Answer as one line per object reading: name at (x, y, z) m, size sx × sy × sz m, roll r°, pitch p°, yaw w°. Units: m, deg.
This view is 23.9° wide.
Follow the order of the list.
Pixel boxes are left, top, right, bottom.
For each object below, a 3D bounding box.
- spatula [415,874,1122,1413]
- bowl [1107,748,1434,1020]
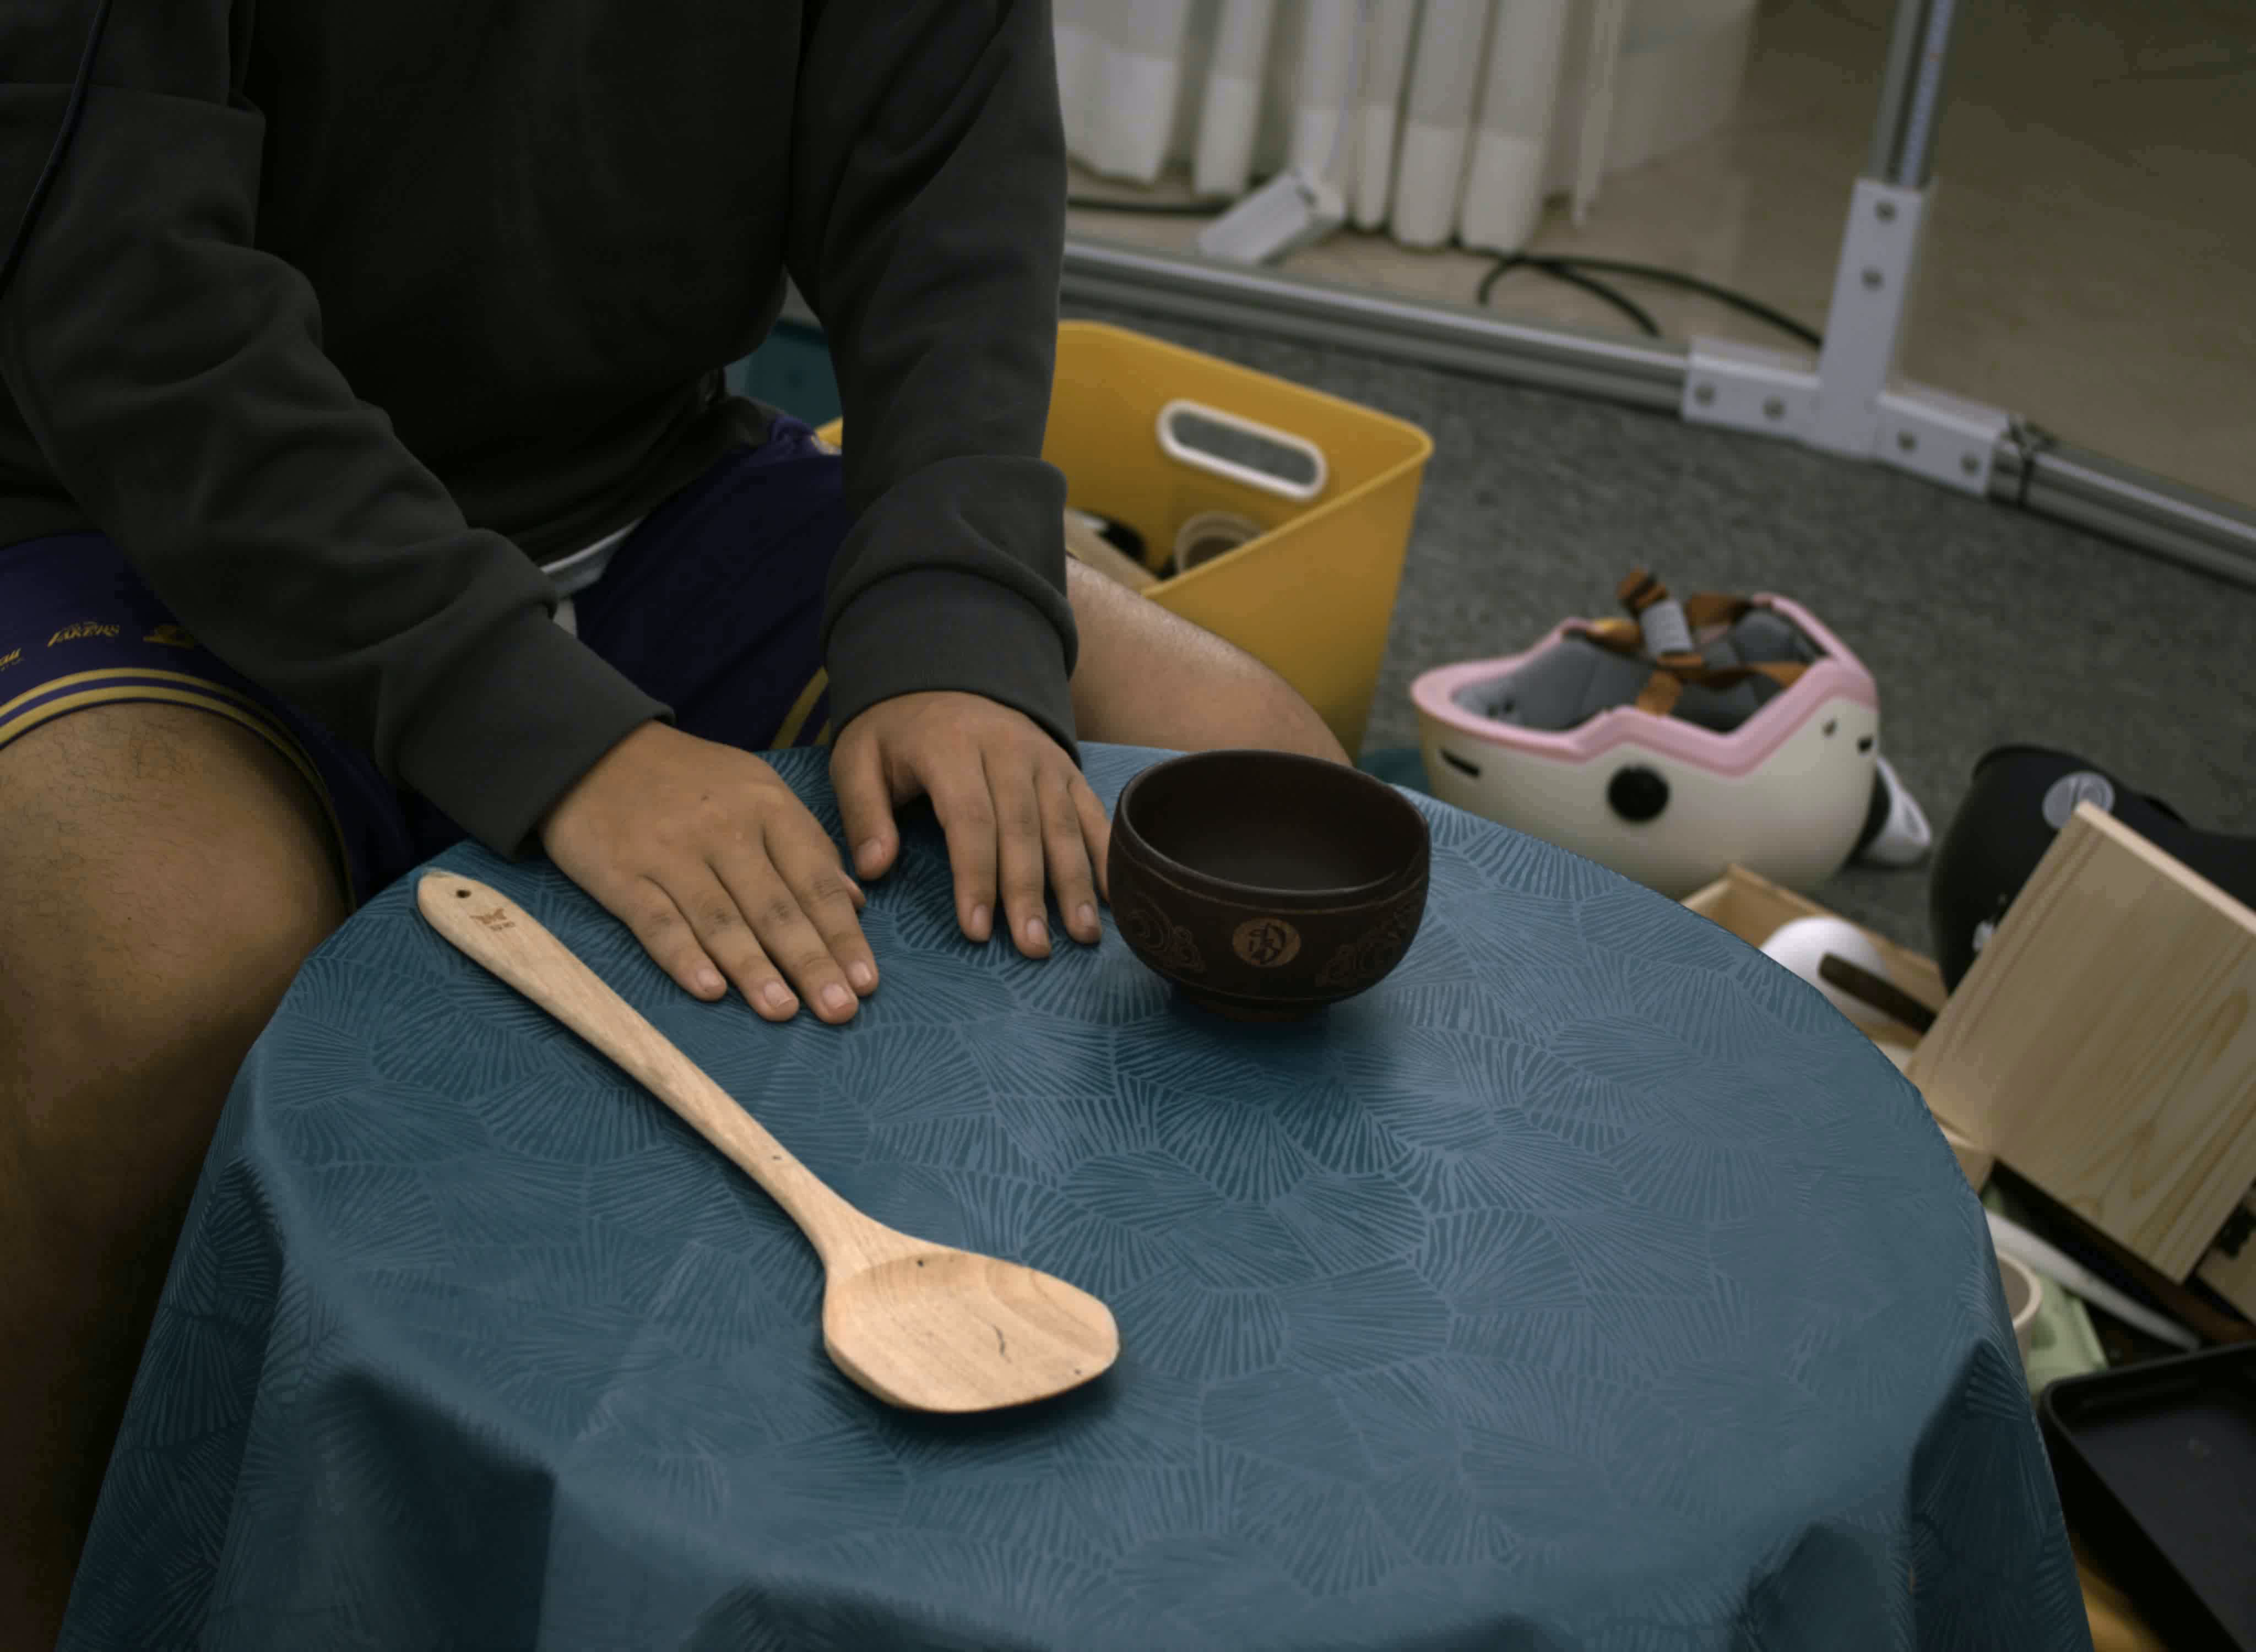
spatula at (-0.143, 0.101, 1.795) m, size 0.095 × 0.018 × 0.394 m, roll -11°, pitch 32°, yaw -35°
bowl at (0.050, 0.027, 1.924) m, size 0.117 × 0.069 × 0.119 m, roll 4°, pitch 25°, yaw -2°
